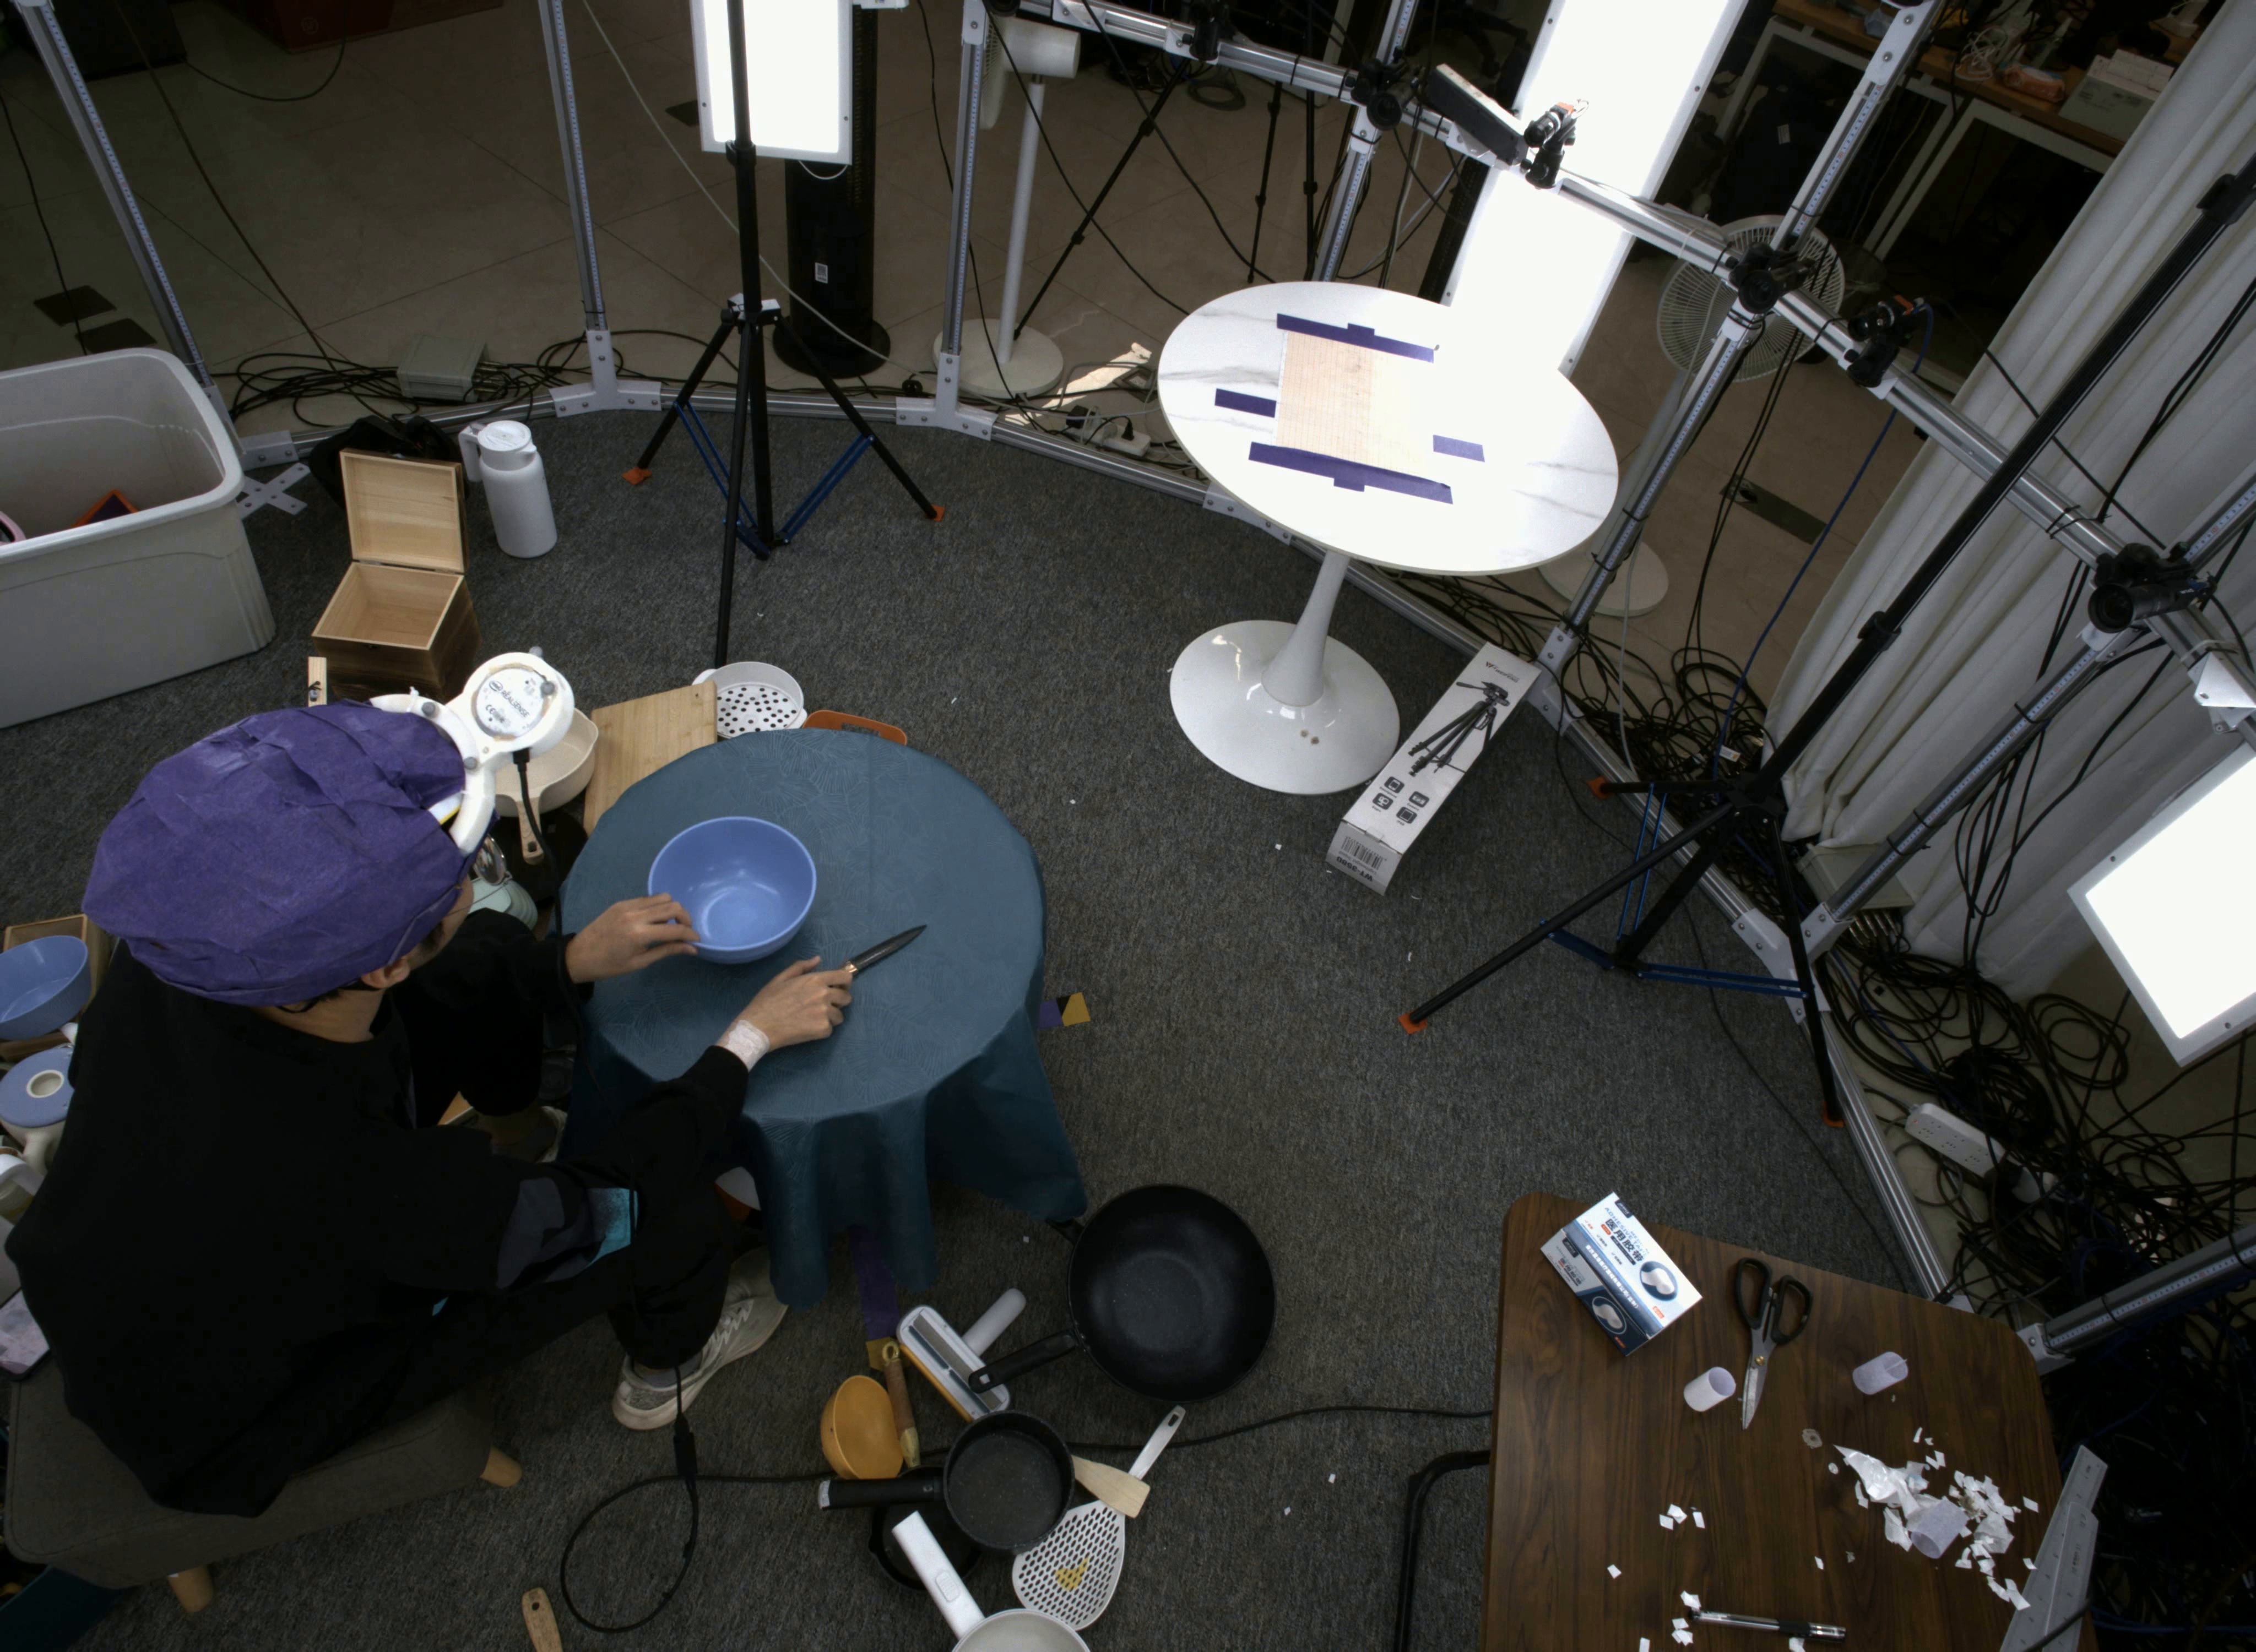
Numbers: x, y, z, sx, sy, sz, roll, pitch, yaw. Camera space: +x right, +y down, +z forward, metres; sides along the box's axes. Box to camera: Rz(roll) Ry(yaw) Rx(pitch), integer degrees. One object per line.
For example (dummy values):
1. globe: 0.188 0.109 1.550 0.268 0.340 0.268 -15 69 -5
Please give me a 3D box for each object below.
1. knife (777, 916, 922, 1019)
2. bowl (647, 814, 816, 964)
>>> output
1. knife: -0.339 0.170 1.602 0.025 0.018 0.226 40 52 24
2. bowl: -0.478 0.090 1.567 0.196 0.097 0.193 9 49 -9
